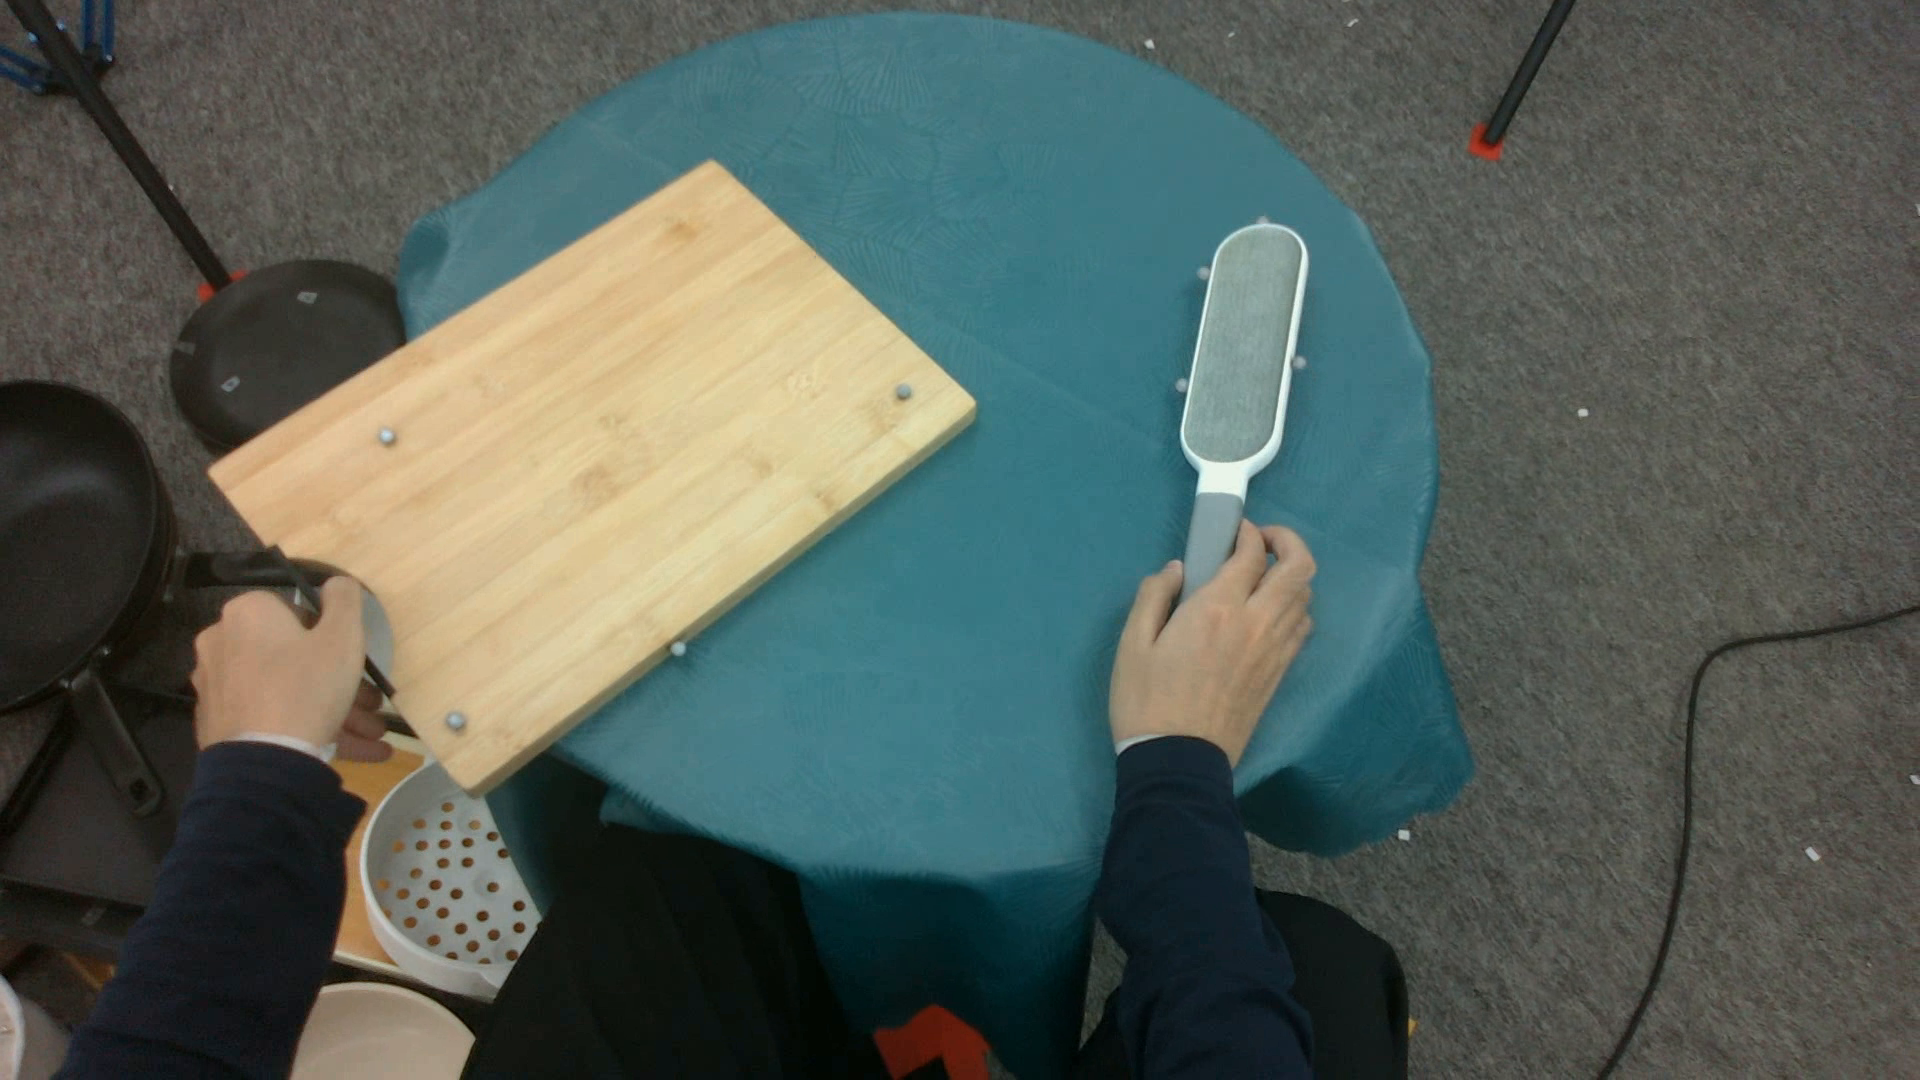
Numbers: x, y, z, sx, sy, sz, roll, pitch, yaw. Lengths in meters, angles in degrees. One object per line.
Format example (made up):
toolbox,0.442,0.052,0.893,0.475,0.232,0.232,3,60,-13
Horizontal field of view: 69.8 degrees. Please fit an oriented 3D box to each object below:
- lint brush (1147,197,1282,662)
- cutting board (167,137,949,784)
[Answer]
lint brush,0.138,-0.074,0.776,0.060,0.021,0.310,5,62,17
cutting board,-0.210,-0.064,0.761,0.350,0.023,0.251,-40,72,-22
